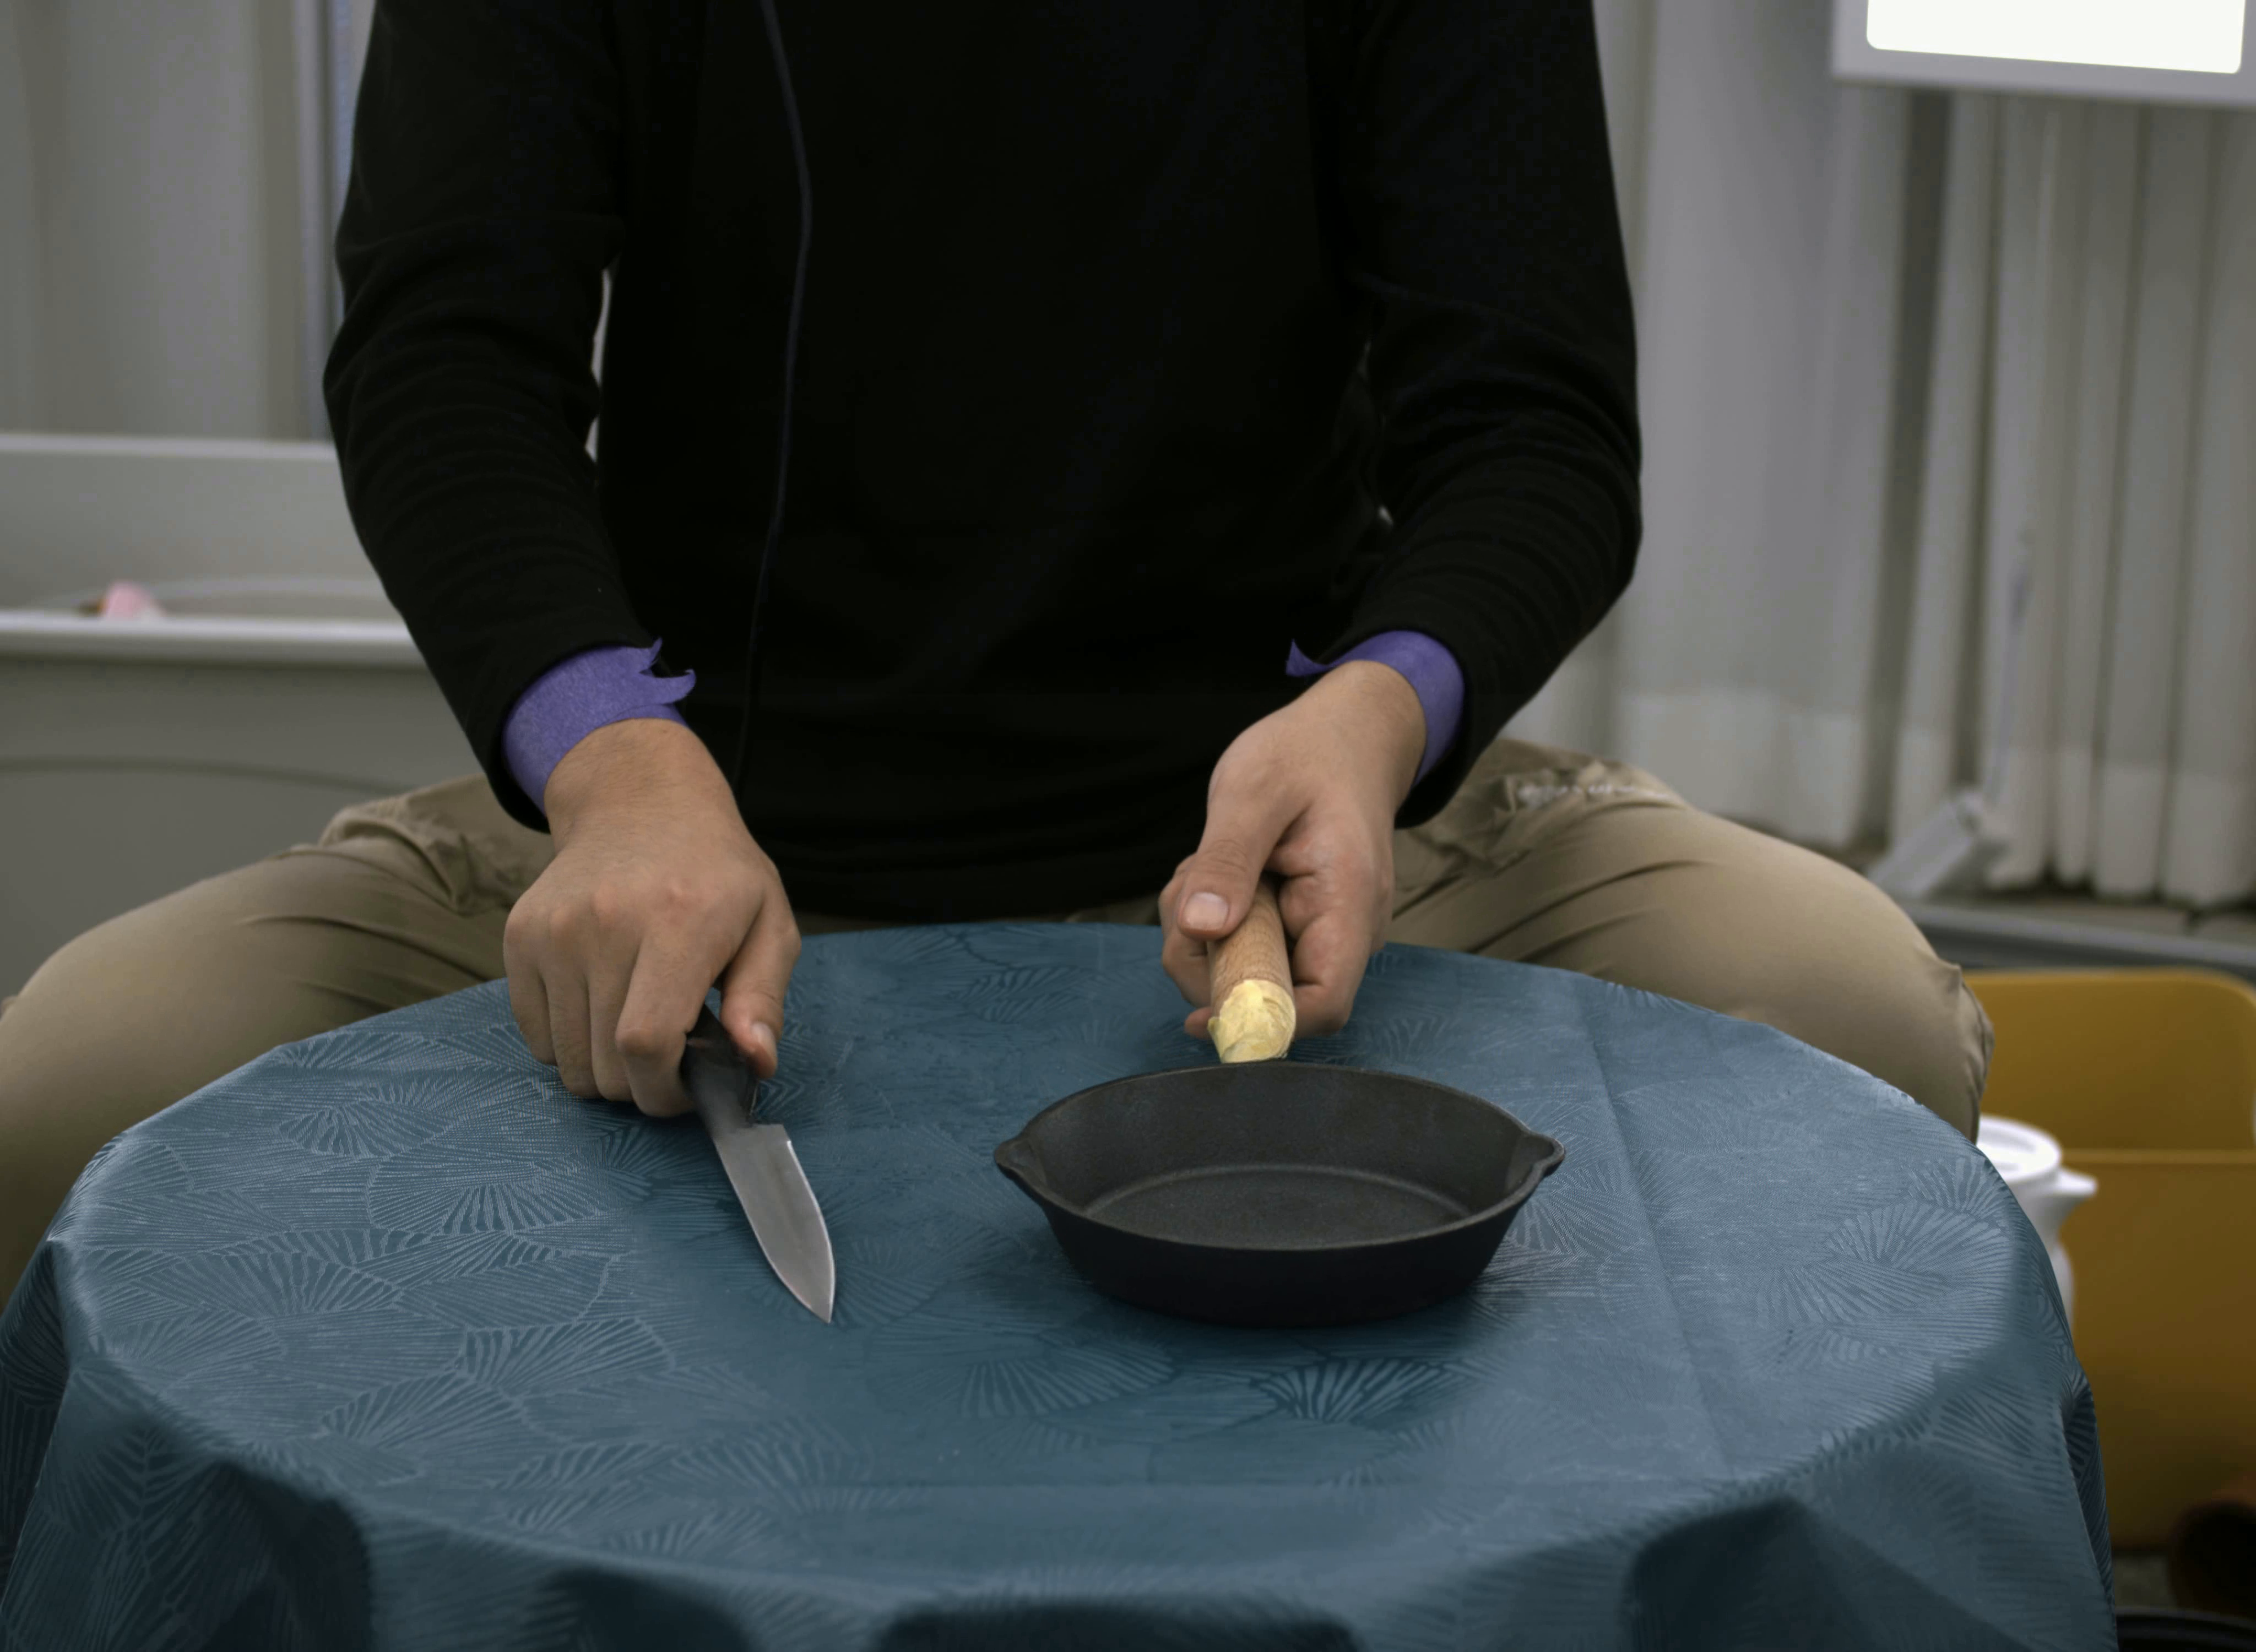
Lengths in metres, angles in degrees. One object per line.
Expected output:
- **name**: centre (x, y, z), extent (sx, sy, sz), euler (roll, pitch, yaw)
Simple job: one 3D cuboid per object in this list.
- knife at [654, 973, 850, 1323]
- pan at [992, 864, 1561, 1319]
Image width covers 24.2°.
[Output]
- **knife**: centre (-0.116, 0.098, 1.615), extent (0.024, 0.016, 0.235), euler (-16, 26, -10)
- **pan**: centre (0.044, 0.079, 1.640), extent (0.168, 0.050, 0.322), euler (1, 17, 0)
